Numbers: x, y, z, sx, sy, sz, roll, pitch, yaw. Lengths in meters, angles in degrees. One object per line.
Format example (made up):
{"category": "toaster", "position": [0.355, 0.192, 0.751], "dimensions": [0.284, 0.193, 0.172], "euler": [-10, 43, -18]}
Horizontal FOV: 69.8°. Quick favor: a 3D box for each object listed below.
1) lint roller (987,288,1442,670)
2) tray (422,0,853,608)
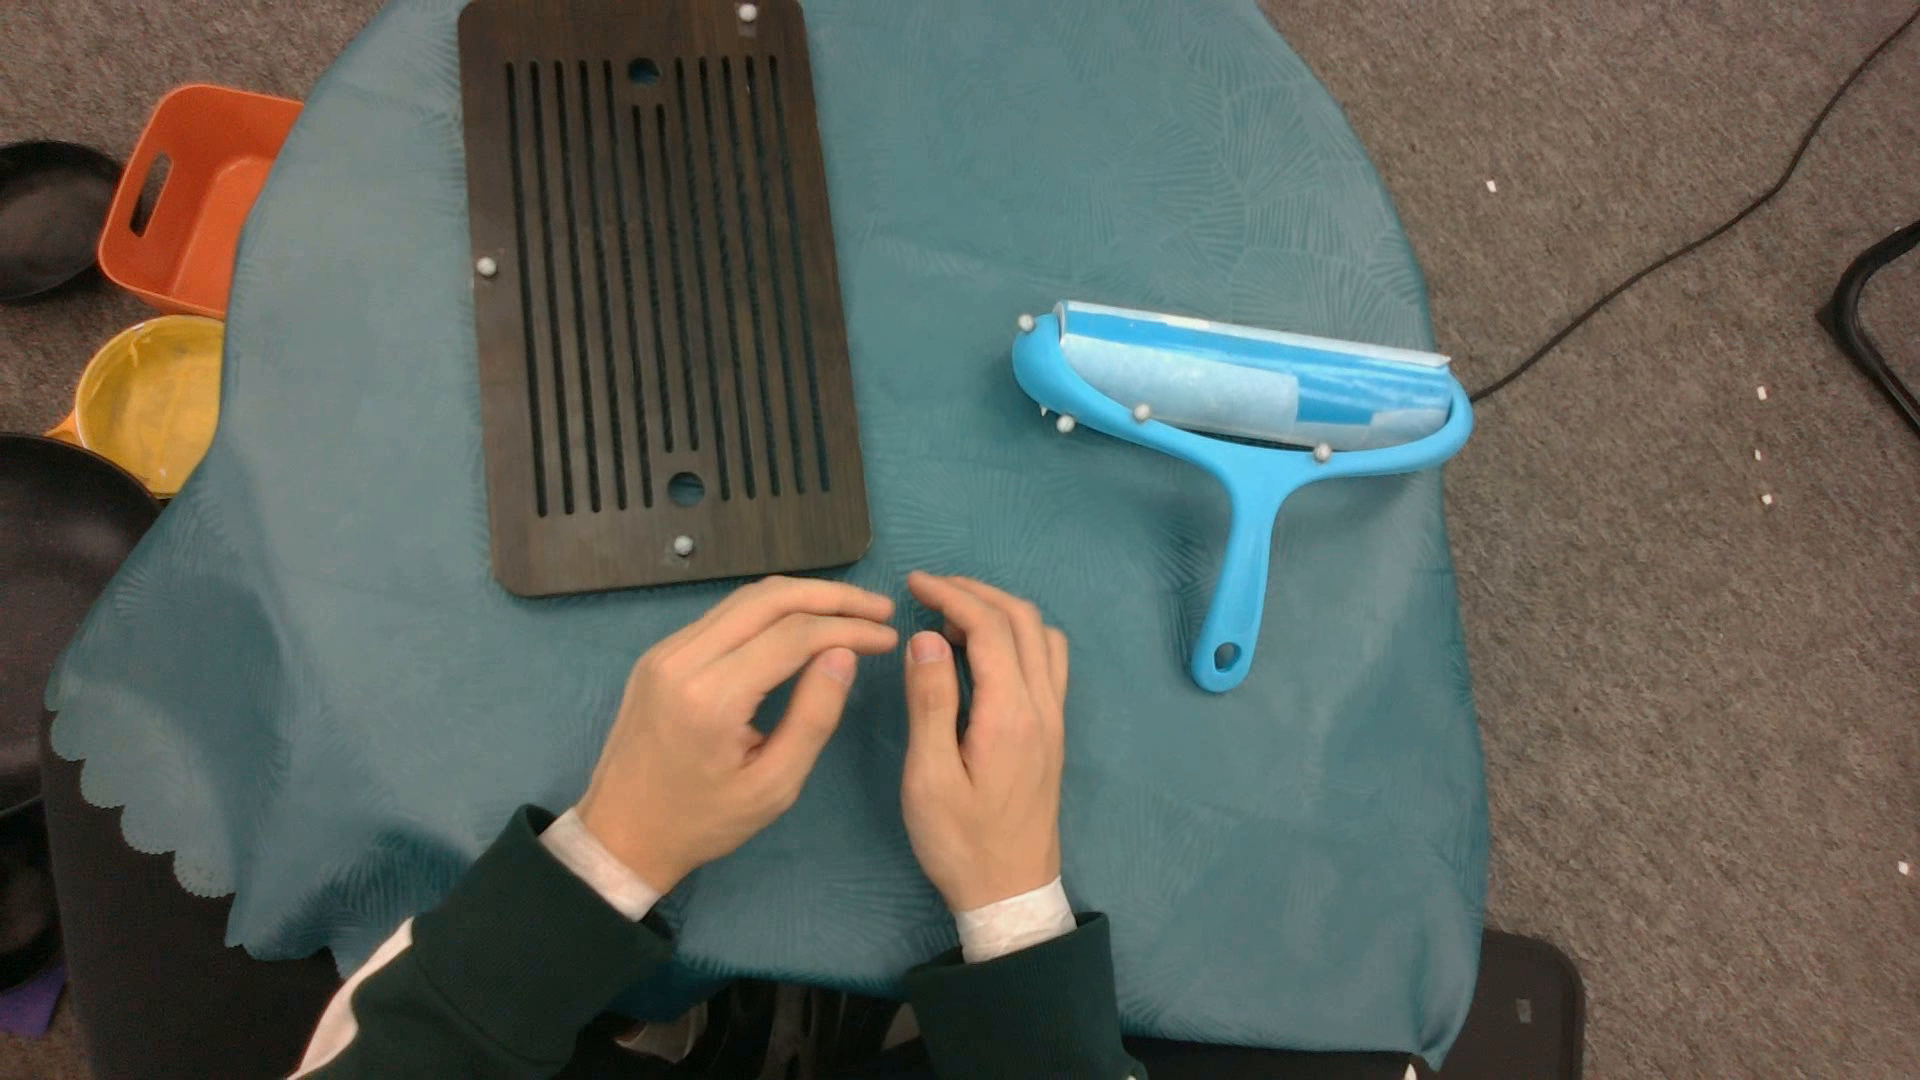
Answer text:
{"category": "lint roller", "position": [0.127, -0.031, 0.664], "dimensions": [0.229, 0.067, 0.181], "euler": [3, 72, -10]}
{"category": "tray", "position": [-0.158, -0.124, 0.665], "dimensions": [0.170, 0.018, 0.306], "euler": [-8, 76, -11]}
